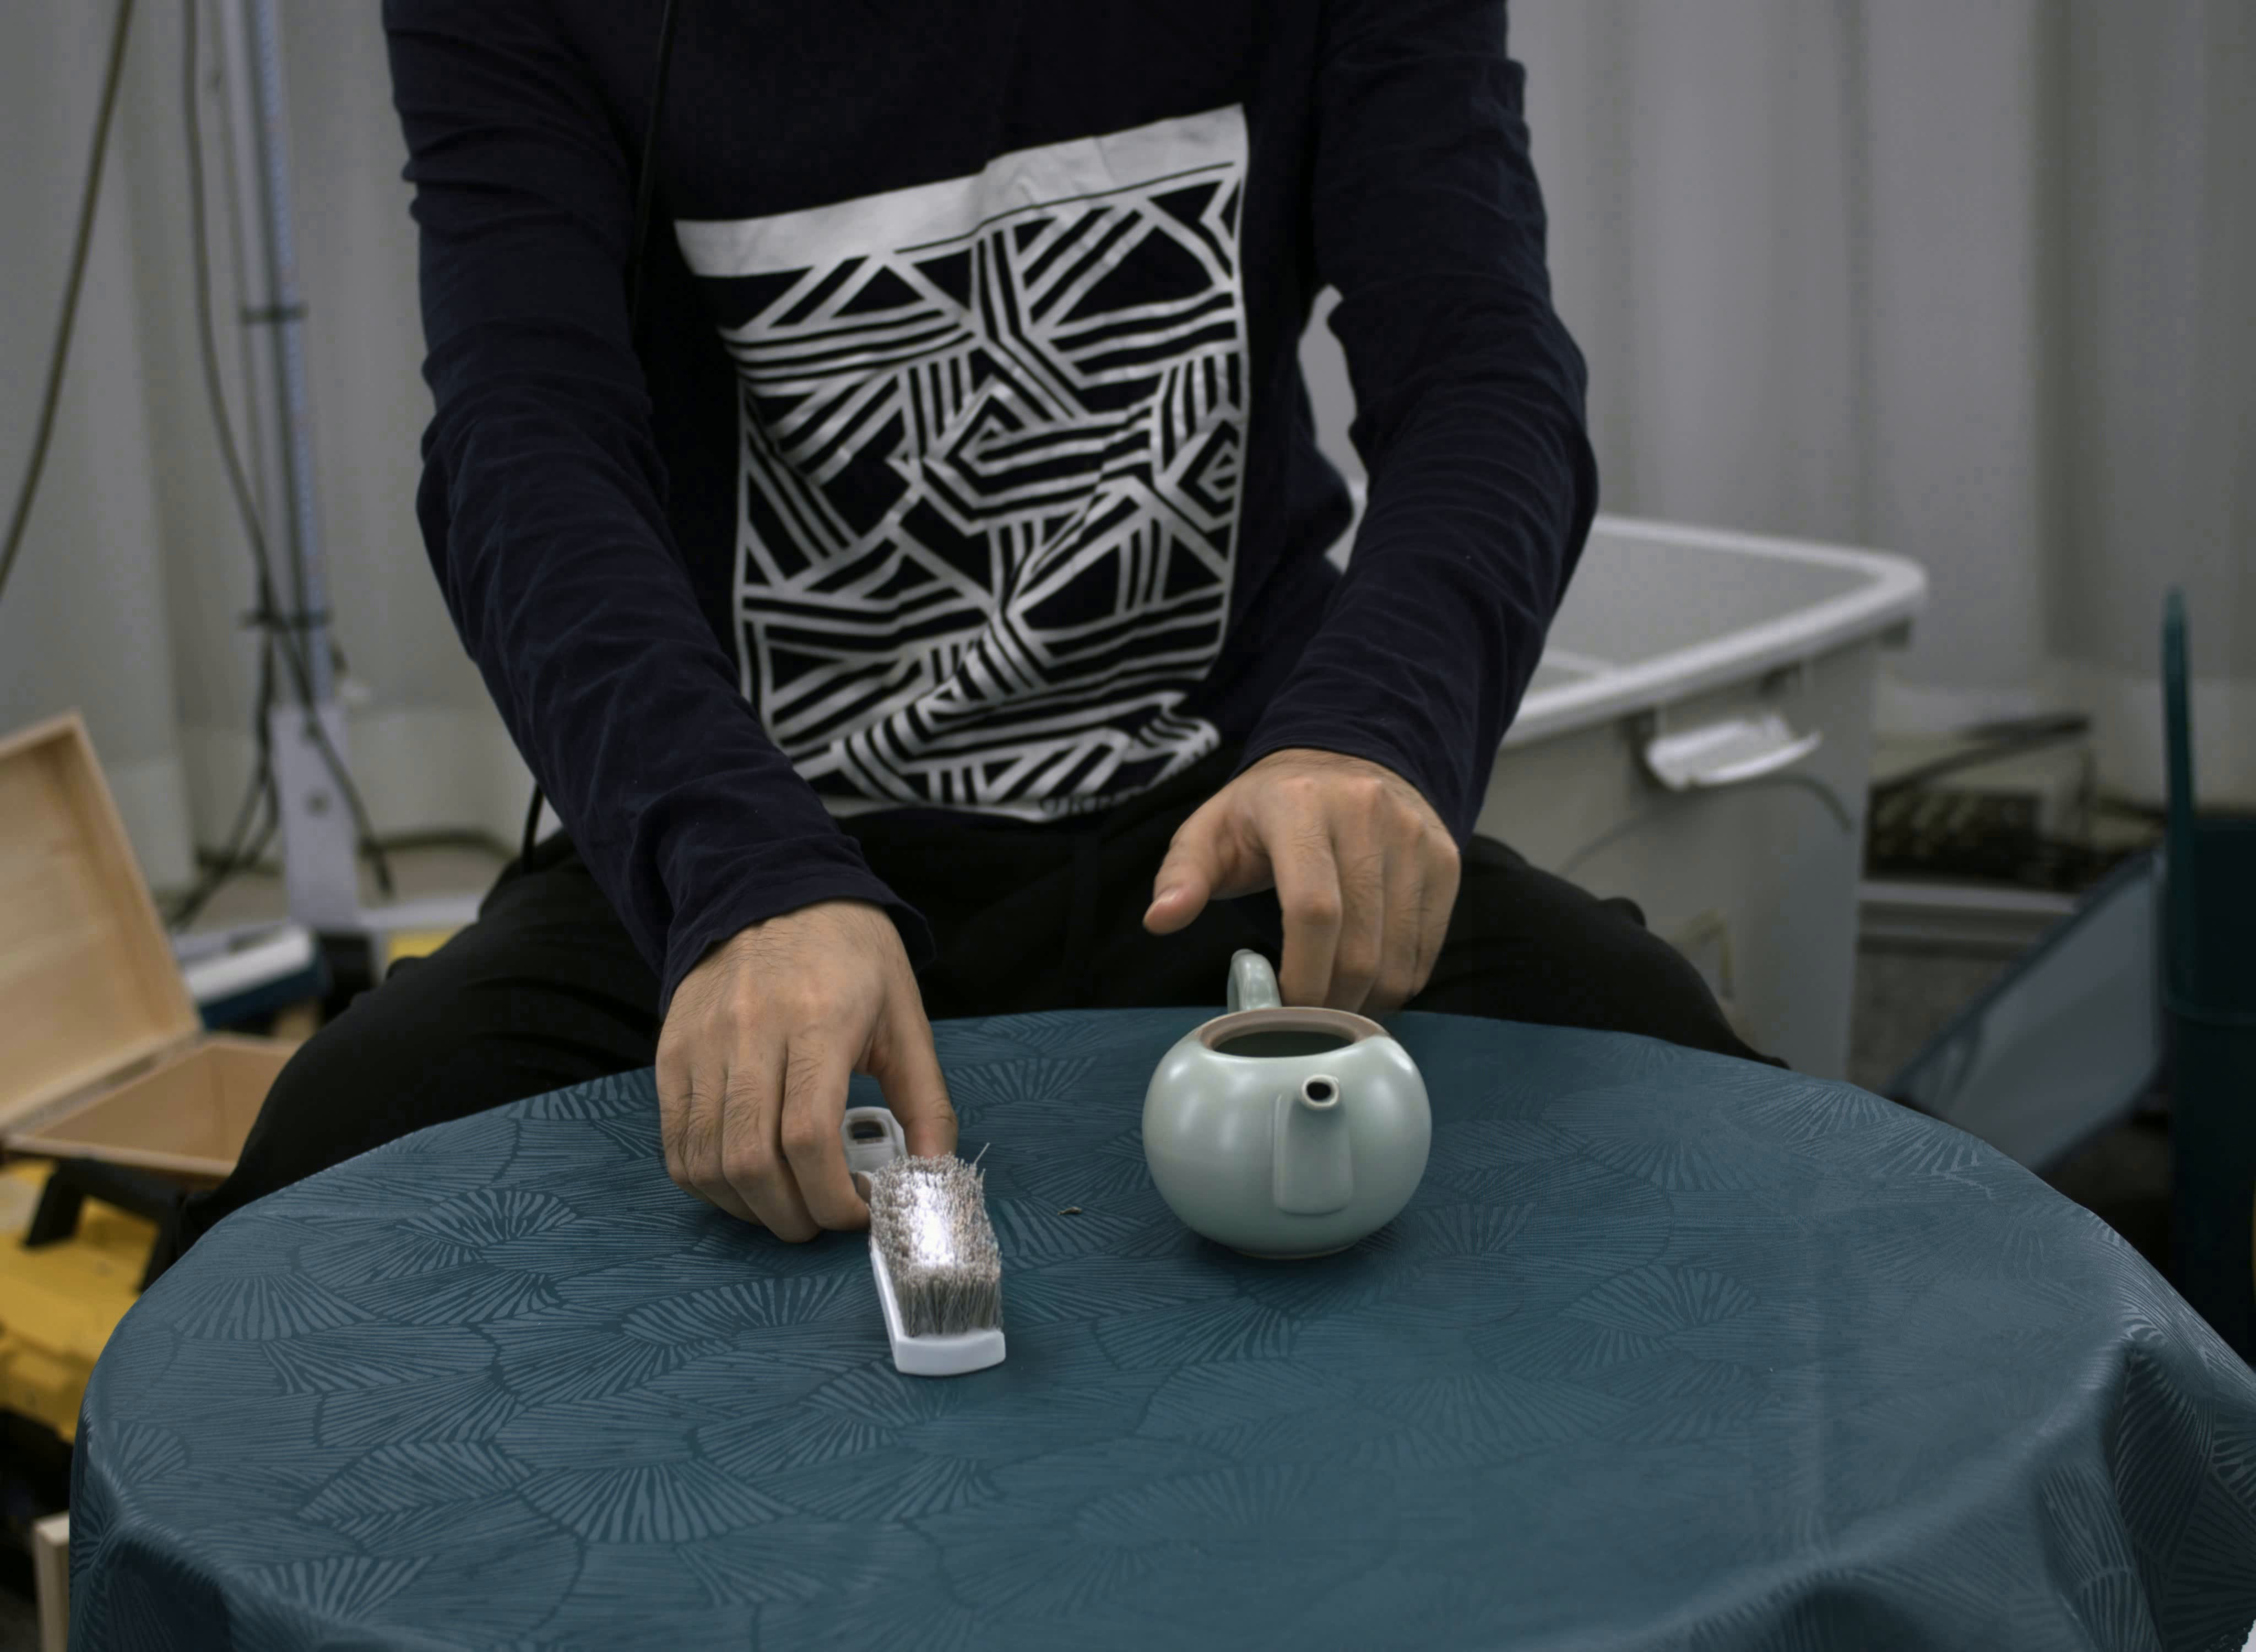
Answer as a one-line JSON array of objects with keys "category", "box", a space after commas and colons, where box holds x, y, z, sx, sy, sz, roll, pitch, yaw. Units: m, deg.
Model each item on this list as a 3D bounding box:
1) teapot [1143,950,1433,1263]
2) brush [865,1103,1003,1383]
[{"category": "teapot", "box": [0.048, 0.091, 1.657, 0.088, 0.074, 0.145, -5, 16, -4]}, {"category": "brush", "box": [-0.065, 0.107, 1.664, 0.034, 0.050, 0.245, -9, 16, -3]}]
